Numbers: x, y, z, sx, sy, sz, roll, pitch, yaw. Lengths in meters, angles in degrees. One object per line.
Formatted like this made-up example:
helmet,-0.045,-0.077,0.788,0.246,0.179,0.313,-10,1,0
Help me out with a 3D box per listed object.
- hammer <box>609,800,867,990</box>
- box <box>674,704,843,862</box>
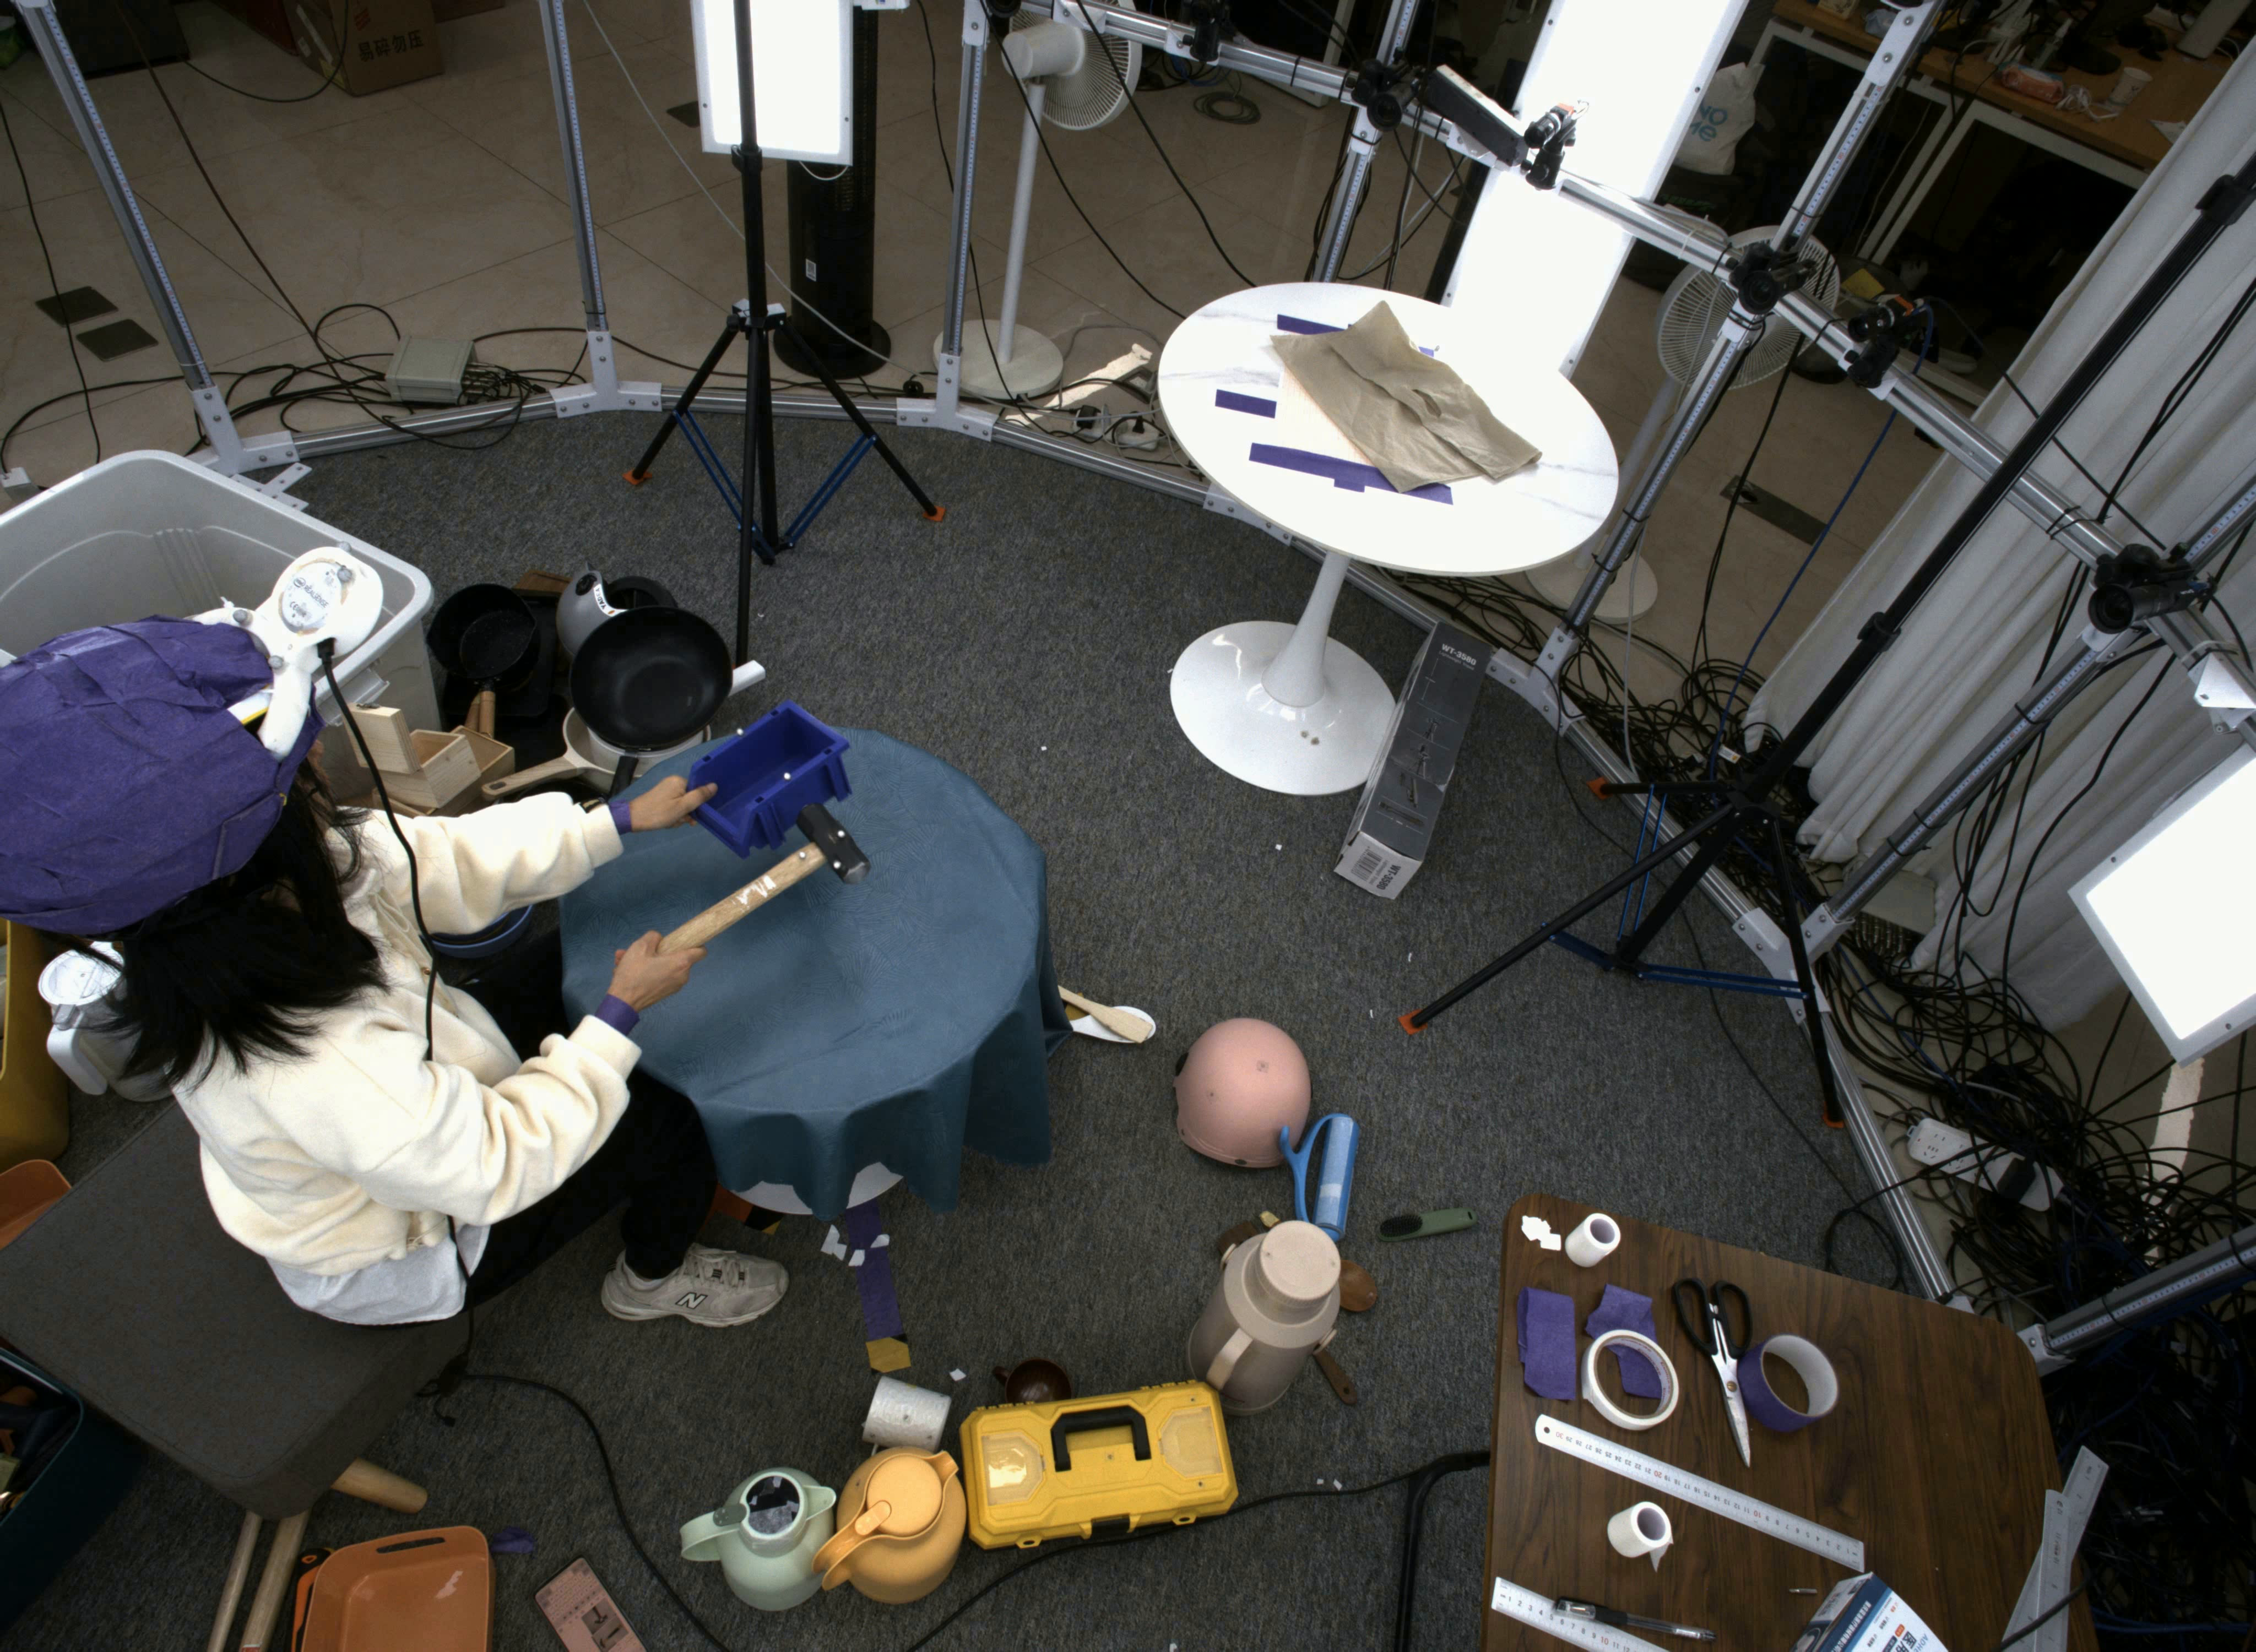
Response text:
hammer,-0.451,0.086,1.469,0.305,0.039,0.105,-35,70,-24
box,-0.446,-0.048,1.567,0.120,0.084,0.179,33,54,28
